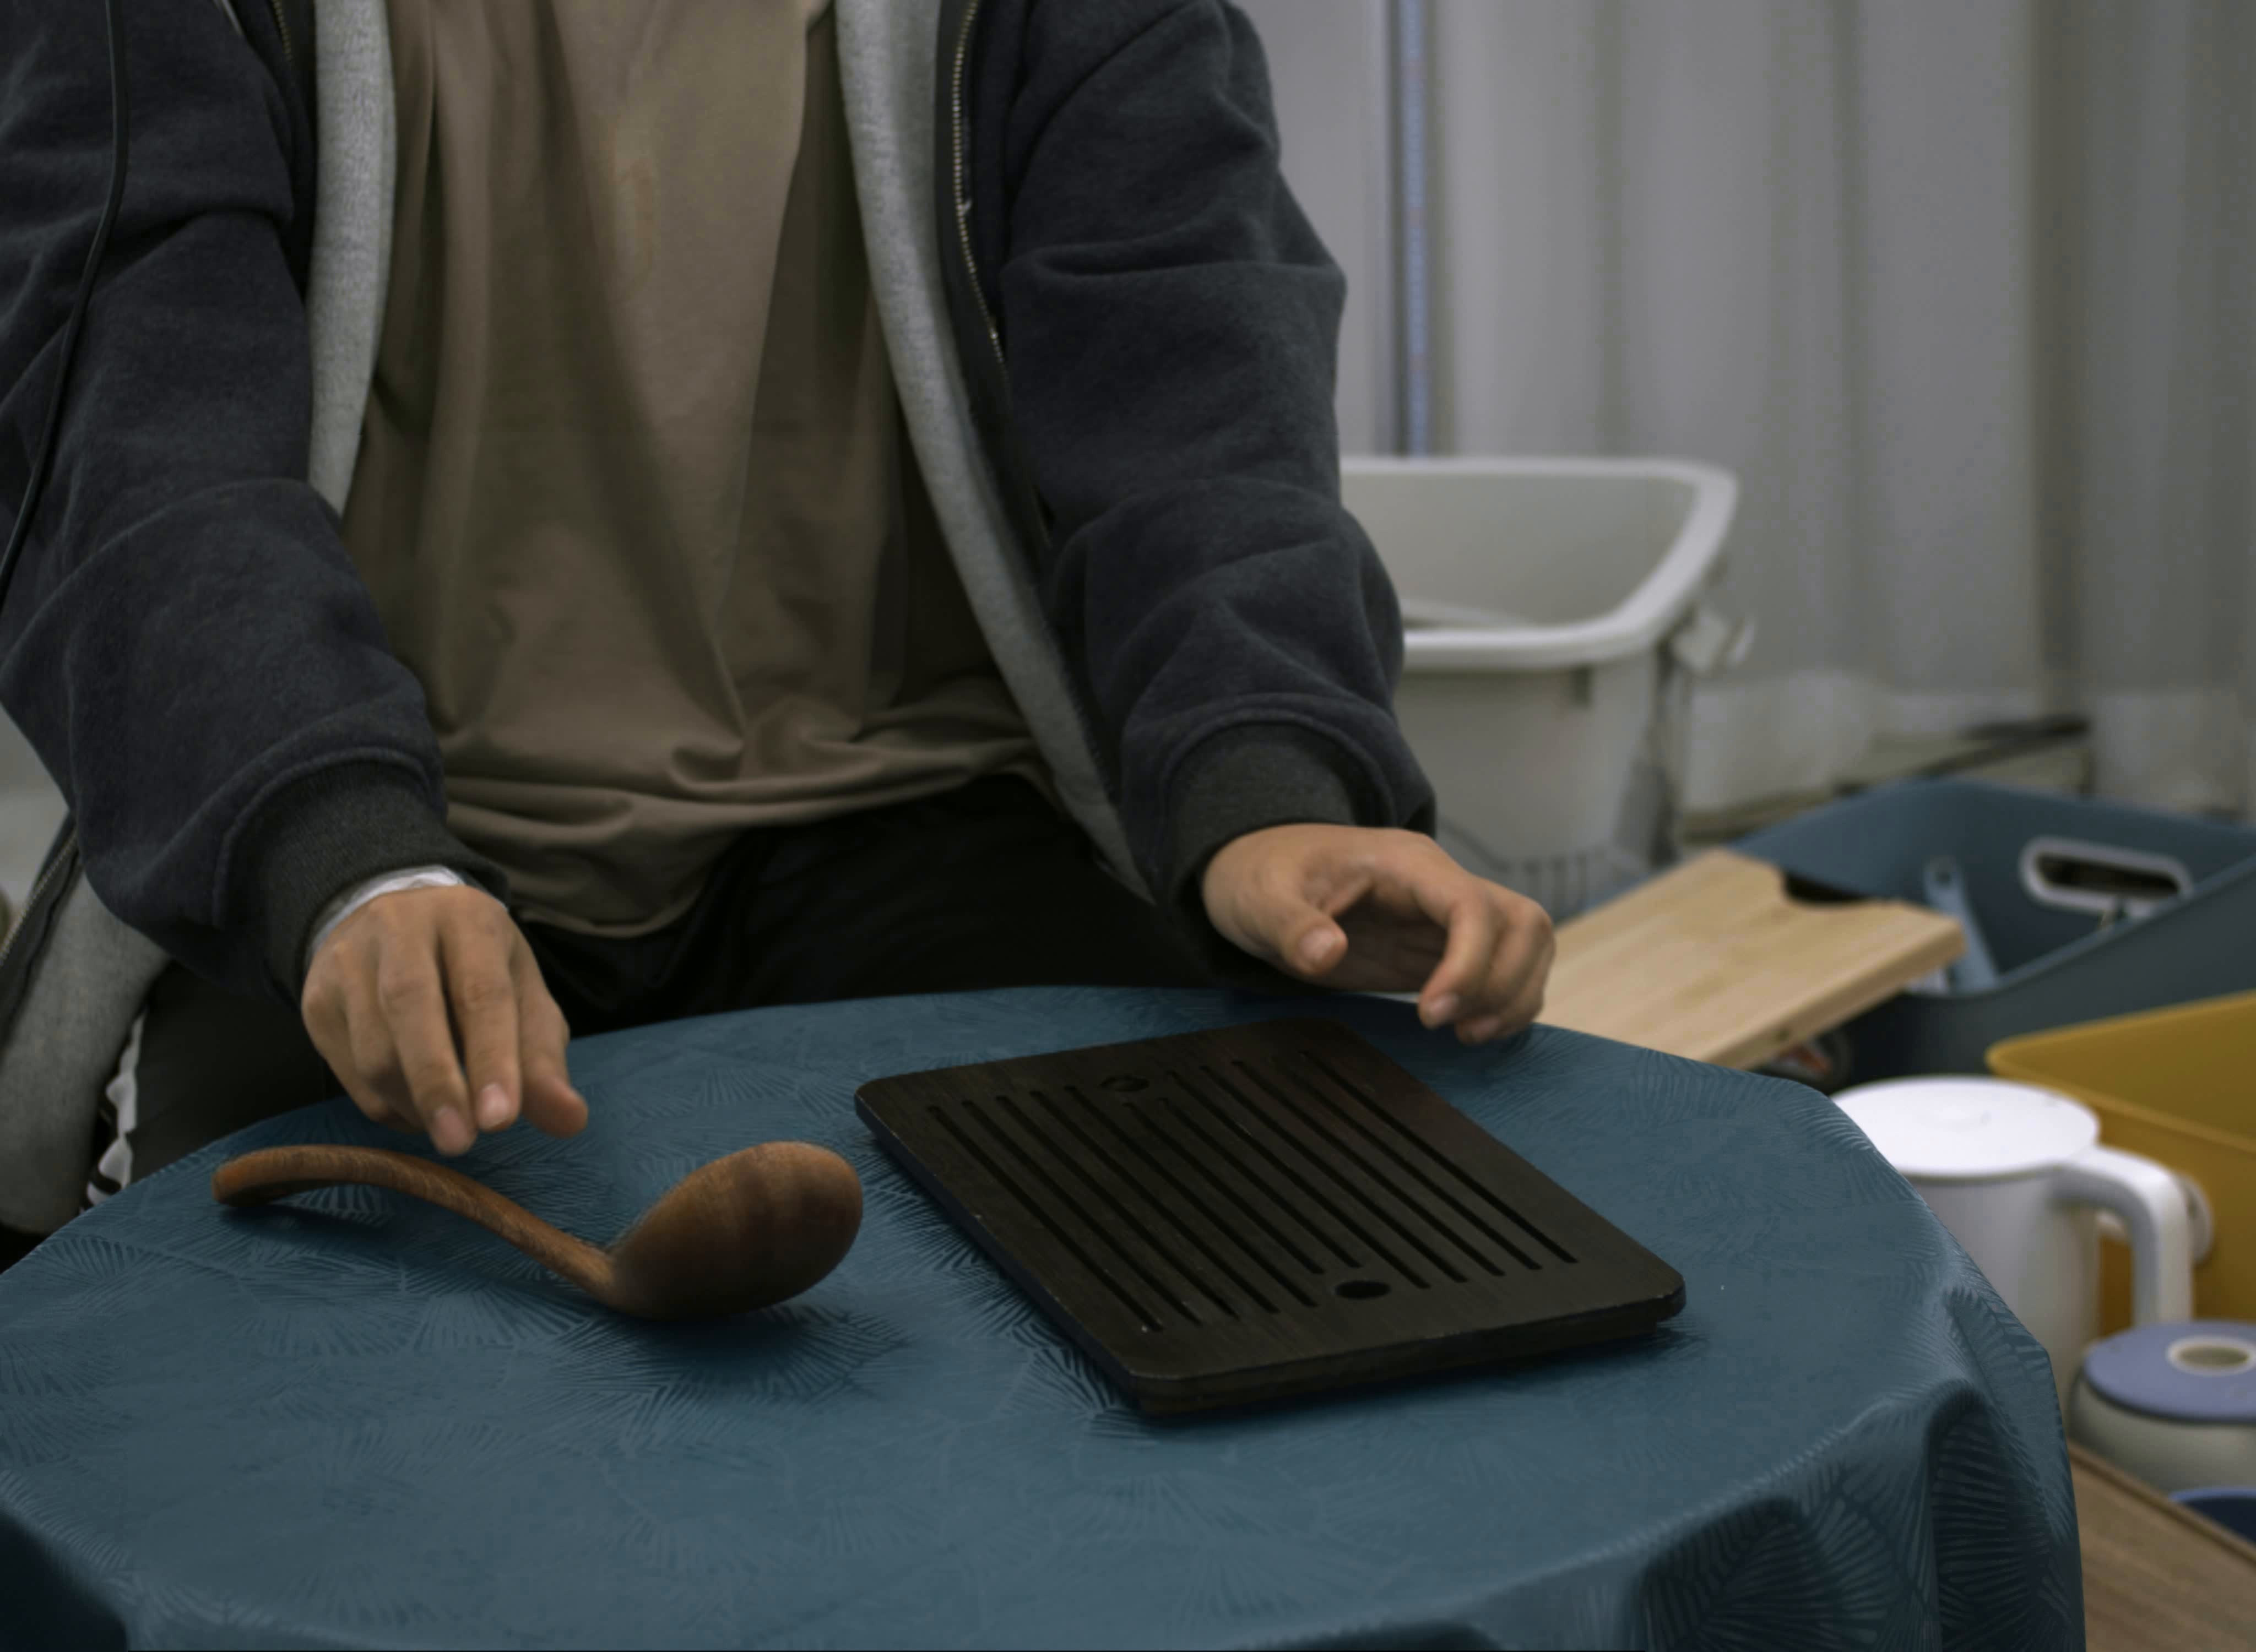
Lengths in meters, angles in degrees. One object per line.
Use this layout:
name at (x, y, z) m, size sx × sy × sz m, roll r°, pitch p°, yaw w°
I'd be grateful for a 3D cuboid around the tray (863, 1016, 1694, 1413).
tray at (0.038, 0.115, 1.673) m, size 0.169 × 0.018 × 0.308 m, roll -8°, pitch 15°, yaw -17°

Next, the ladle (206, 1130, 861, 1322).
ladle at (-0.187, 0.106, 1.663) m, size 0.261 × 0.065 × 0.076 m, roll 10°, pitch -6°, yaw 41°
